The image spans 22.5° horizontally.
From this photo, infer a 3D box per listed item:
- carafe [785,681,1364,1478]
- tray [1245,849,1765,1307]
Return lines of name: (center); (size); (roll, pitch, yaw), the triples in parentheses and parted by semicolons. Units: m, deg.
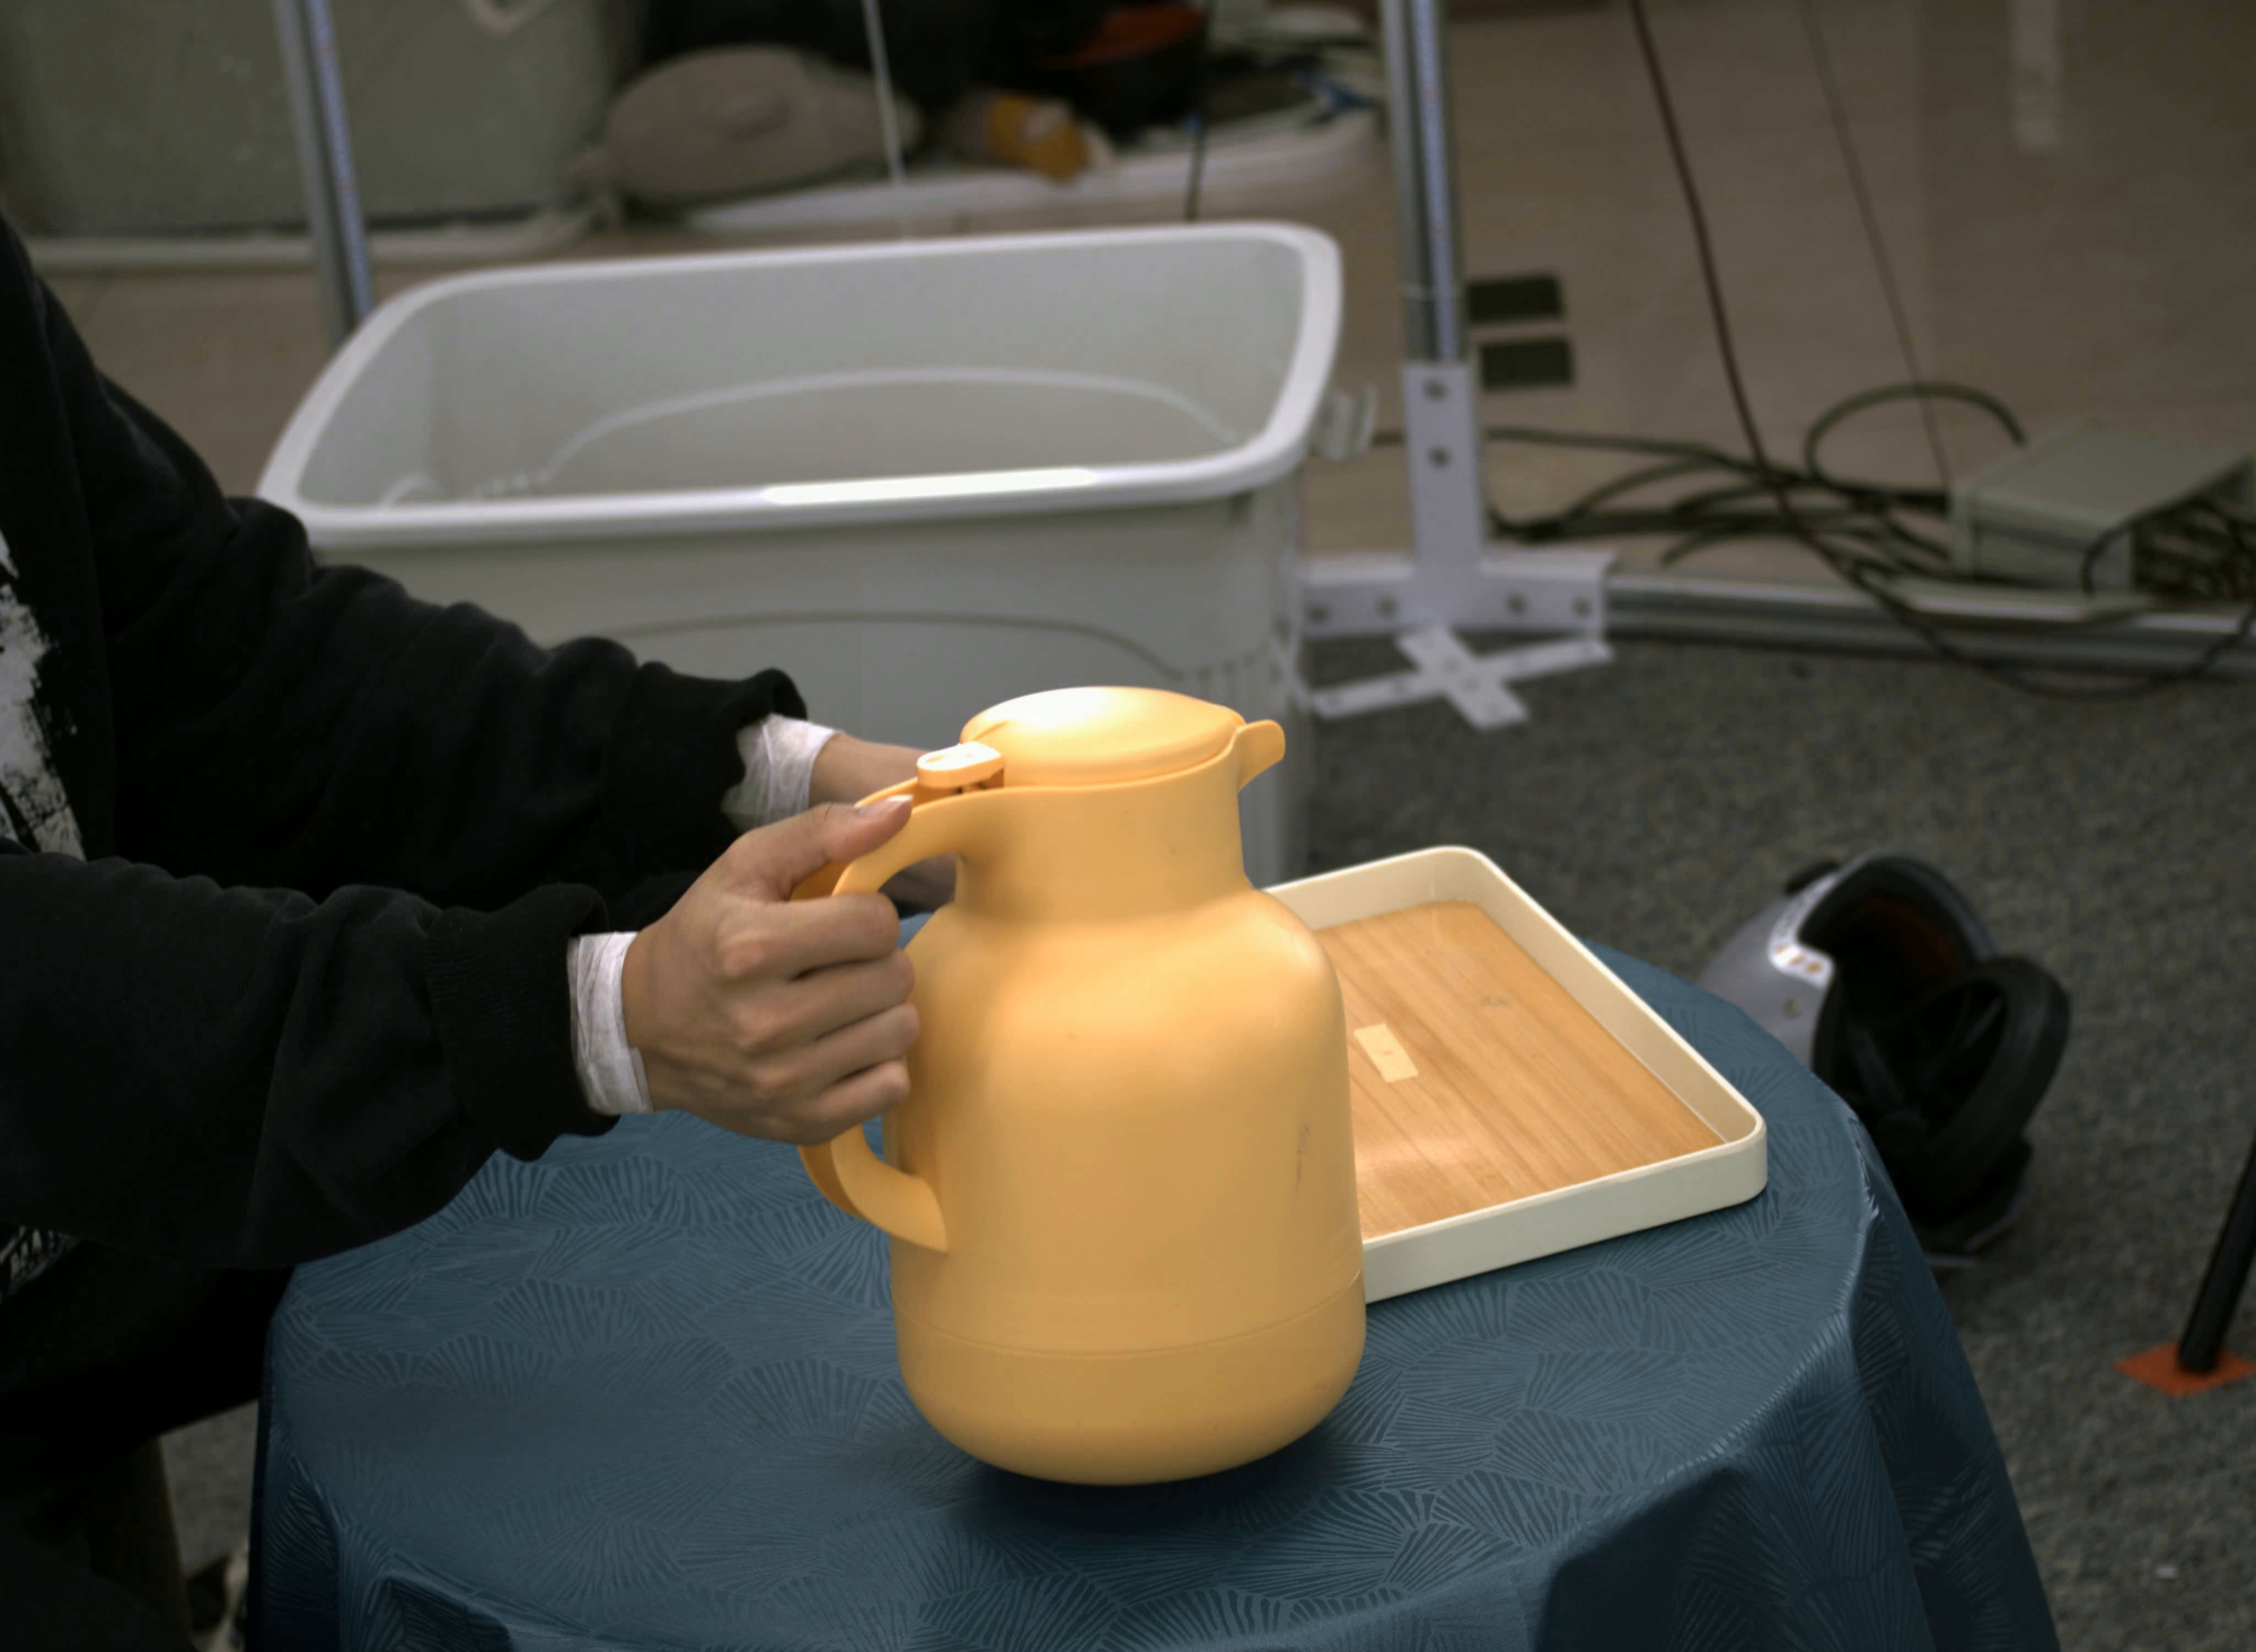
carafe: (-0.022, 0.085, 1.925); (0.201, 0.263, 0.162); (-12, 17, -30)
tray: (0.103, 0.093, 2.193); (0.191, 0.028, 0.296); (-13, 26, -15)
